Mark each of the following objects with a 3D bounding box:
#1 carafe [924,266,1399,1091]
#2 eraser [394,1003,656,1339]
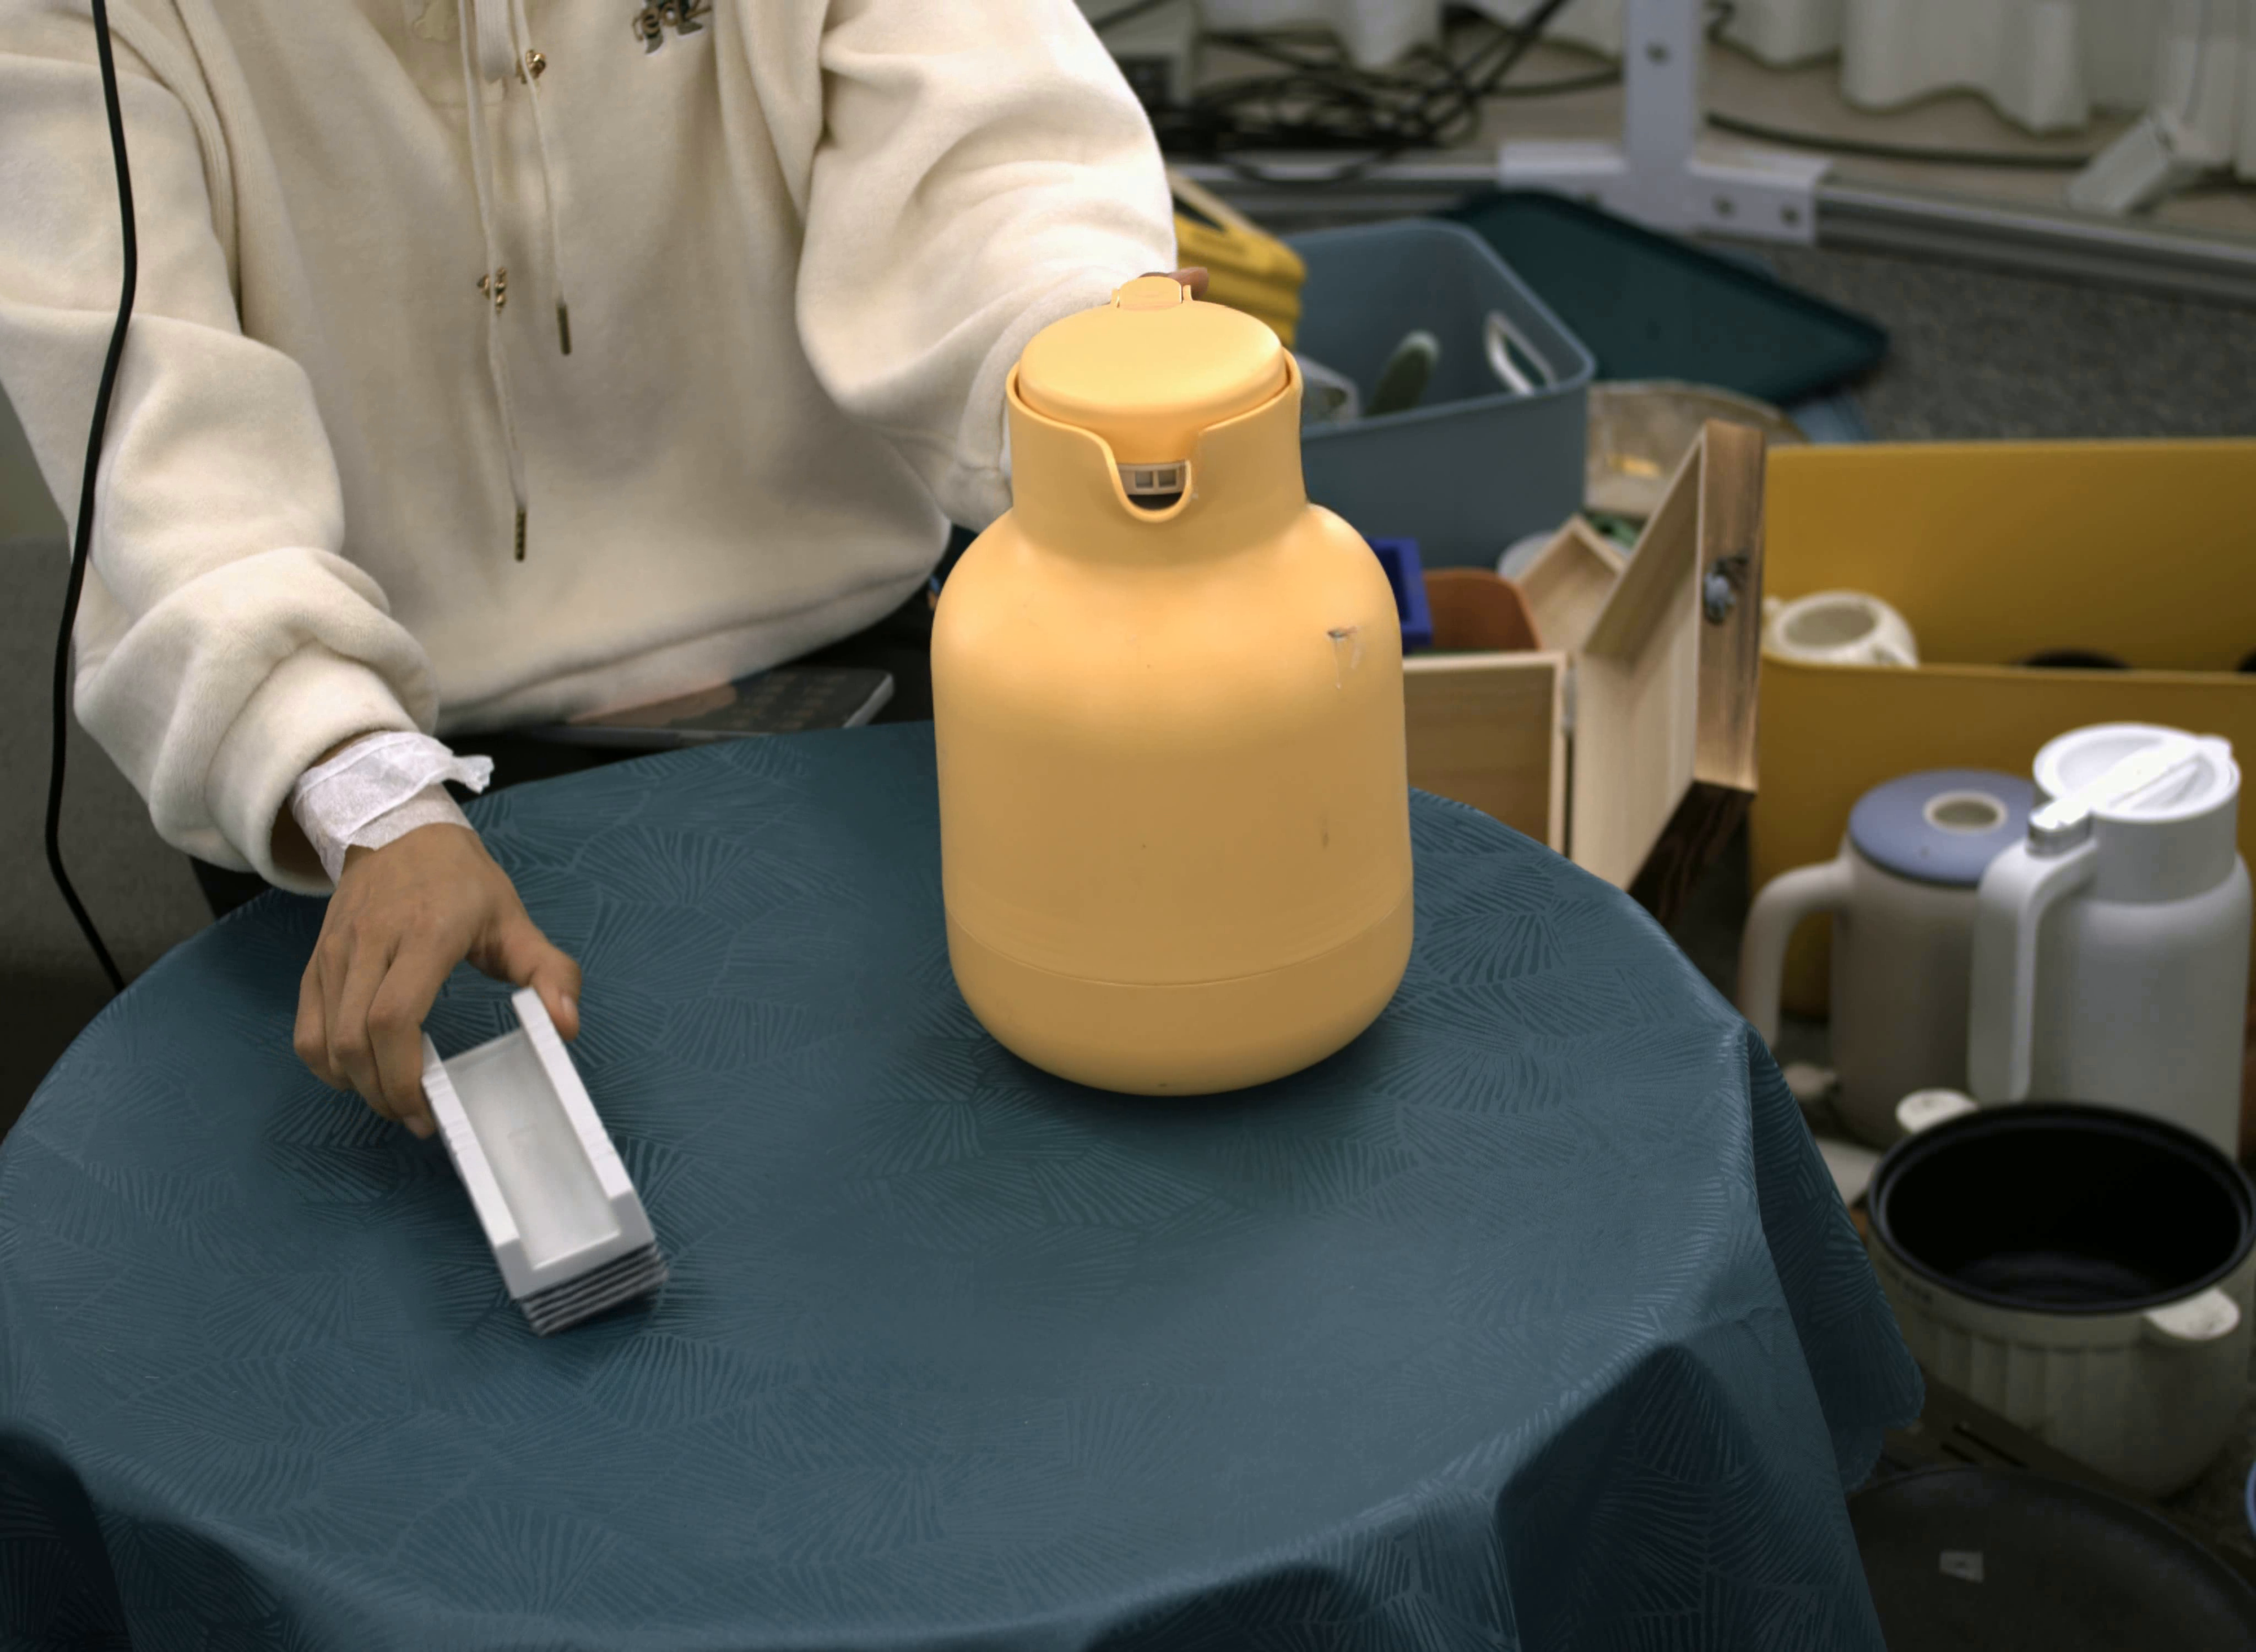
[{"bbox_3d":[0.013,-0.060,1.925,0.162,0.257,0.205,1,28,1],"label":"carafe"},{"bbox_3d":[-0.197,0.113,1.843,0.050,0.046,0.135,-24,32,-10],"label":"eraser"}]
